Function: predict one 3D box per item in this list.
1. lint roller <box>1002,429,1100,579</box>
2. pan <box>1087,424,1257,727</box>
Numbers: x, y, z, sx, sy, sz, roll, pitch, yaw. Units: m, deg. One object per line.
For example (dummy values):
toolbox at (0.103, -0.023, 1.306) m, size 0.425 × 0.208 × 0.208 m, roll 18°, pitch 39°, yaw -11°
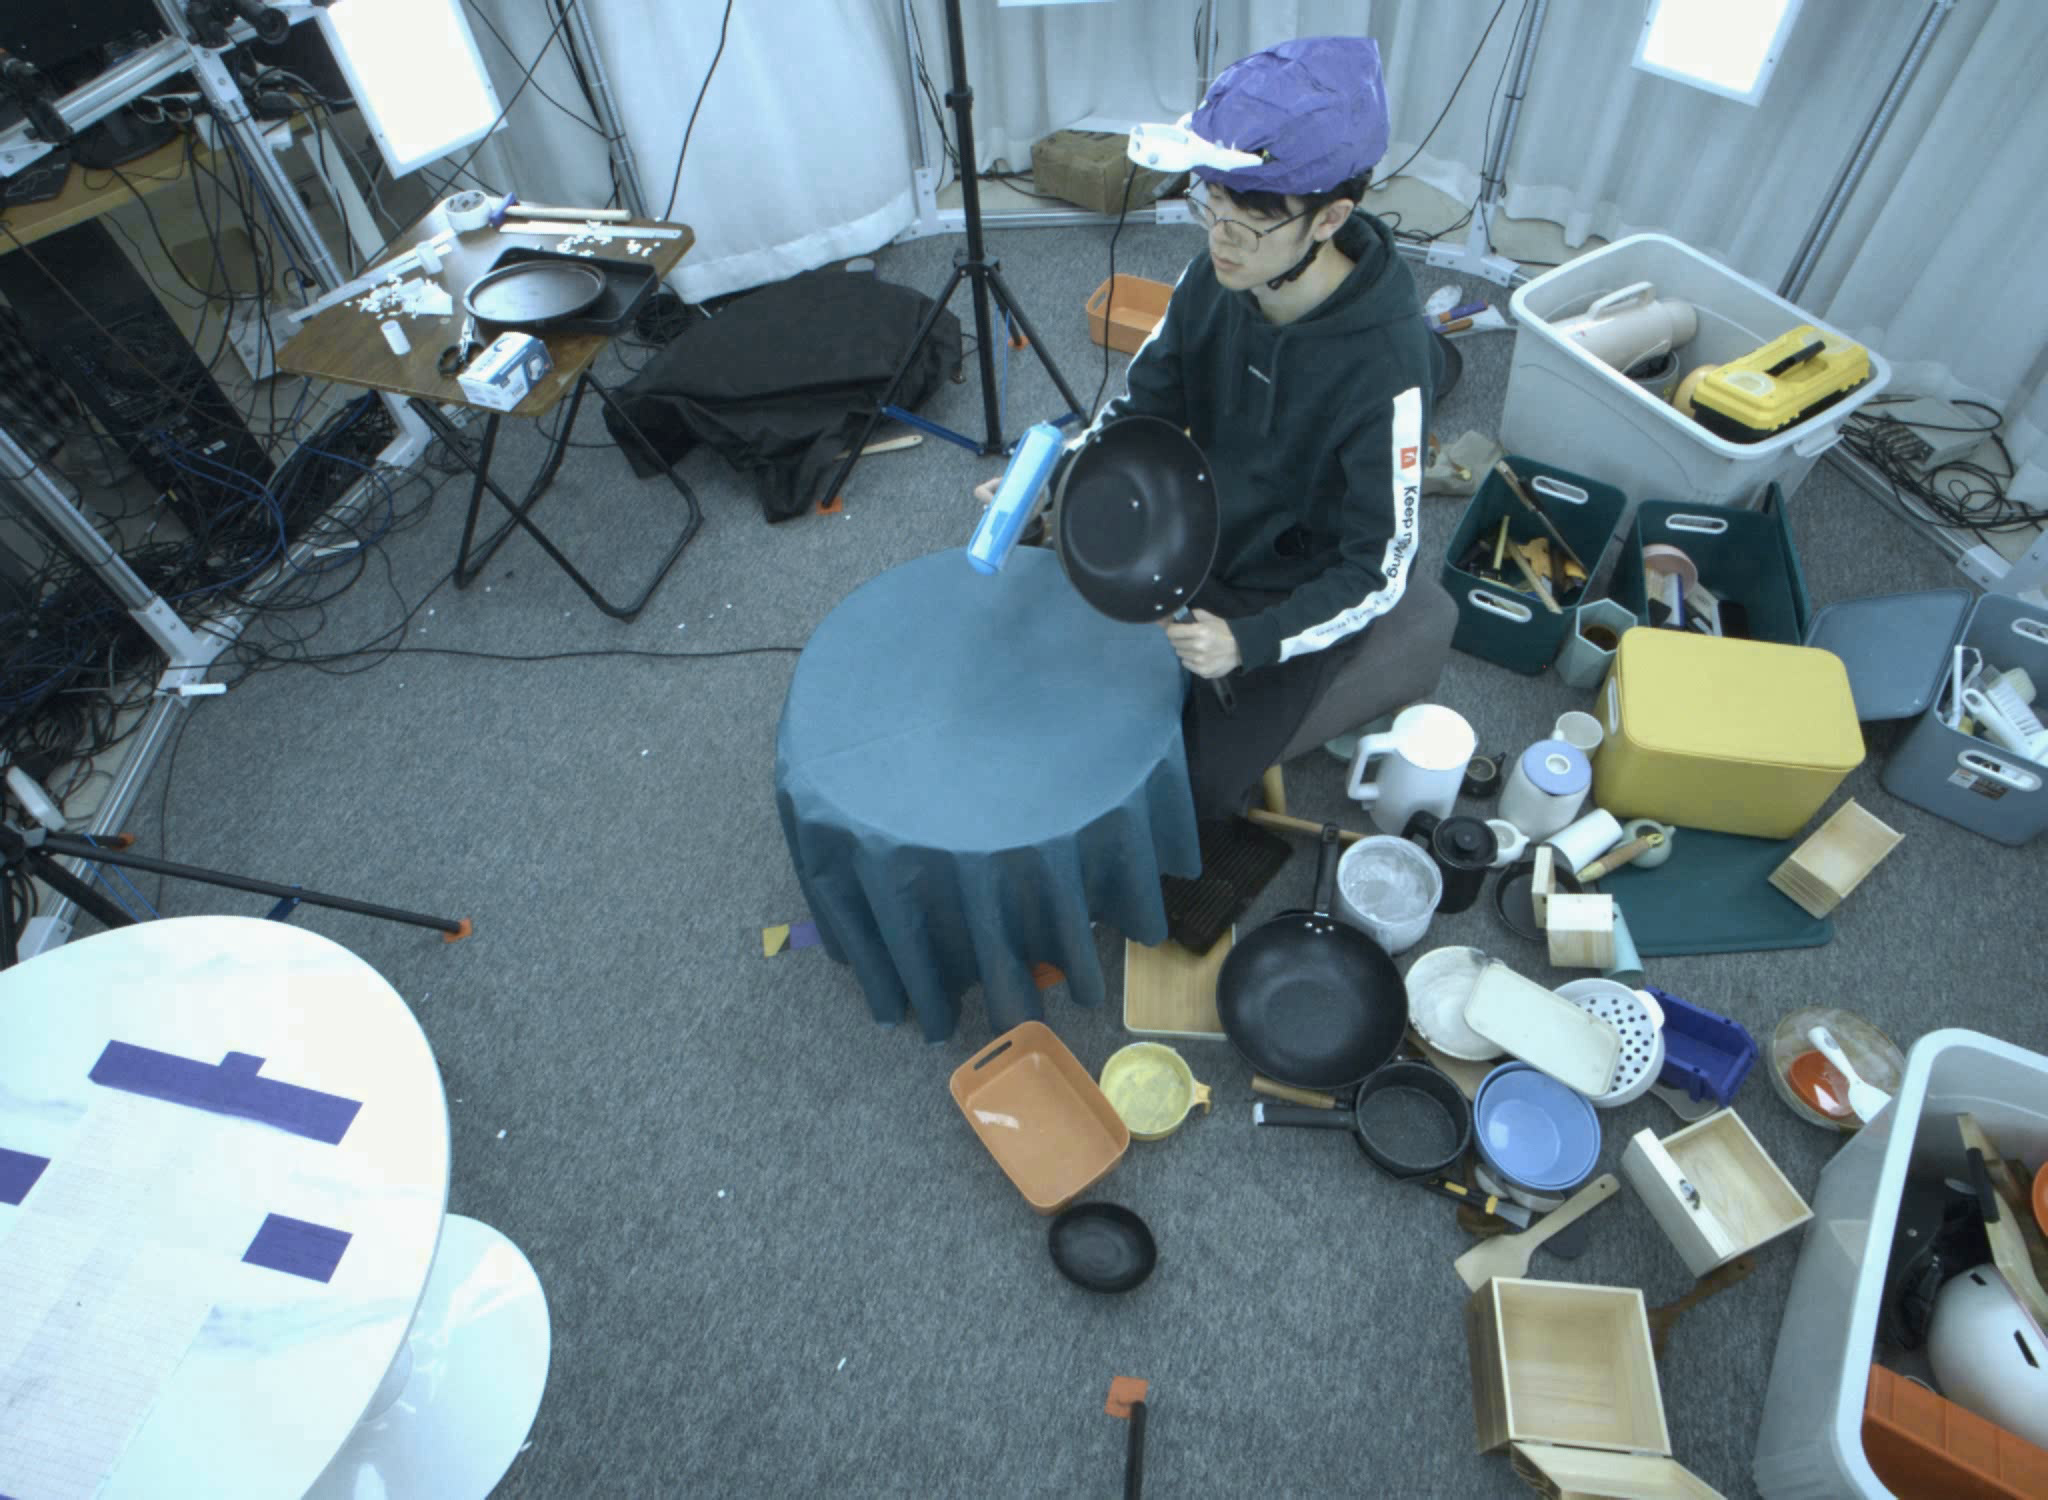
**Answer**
lint roller at (0.037, -0.353, 1.766) m, size 0.068 × 0.179 × 0.229 m, roll 25°, pitch 97°, yaw -5°
pan at (0.225, -0.234, 1.719) m, size 0.290 × 0.471 × 0.085 m, roll -40°, pitch 30°, yaw -22°
